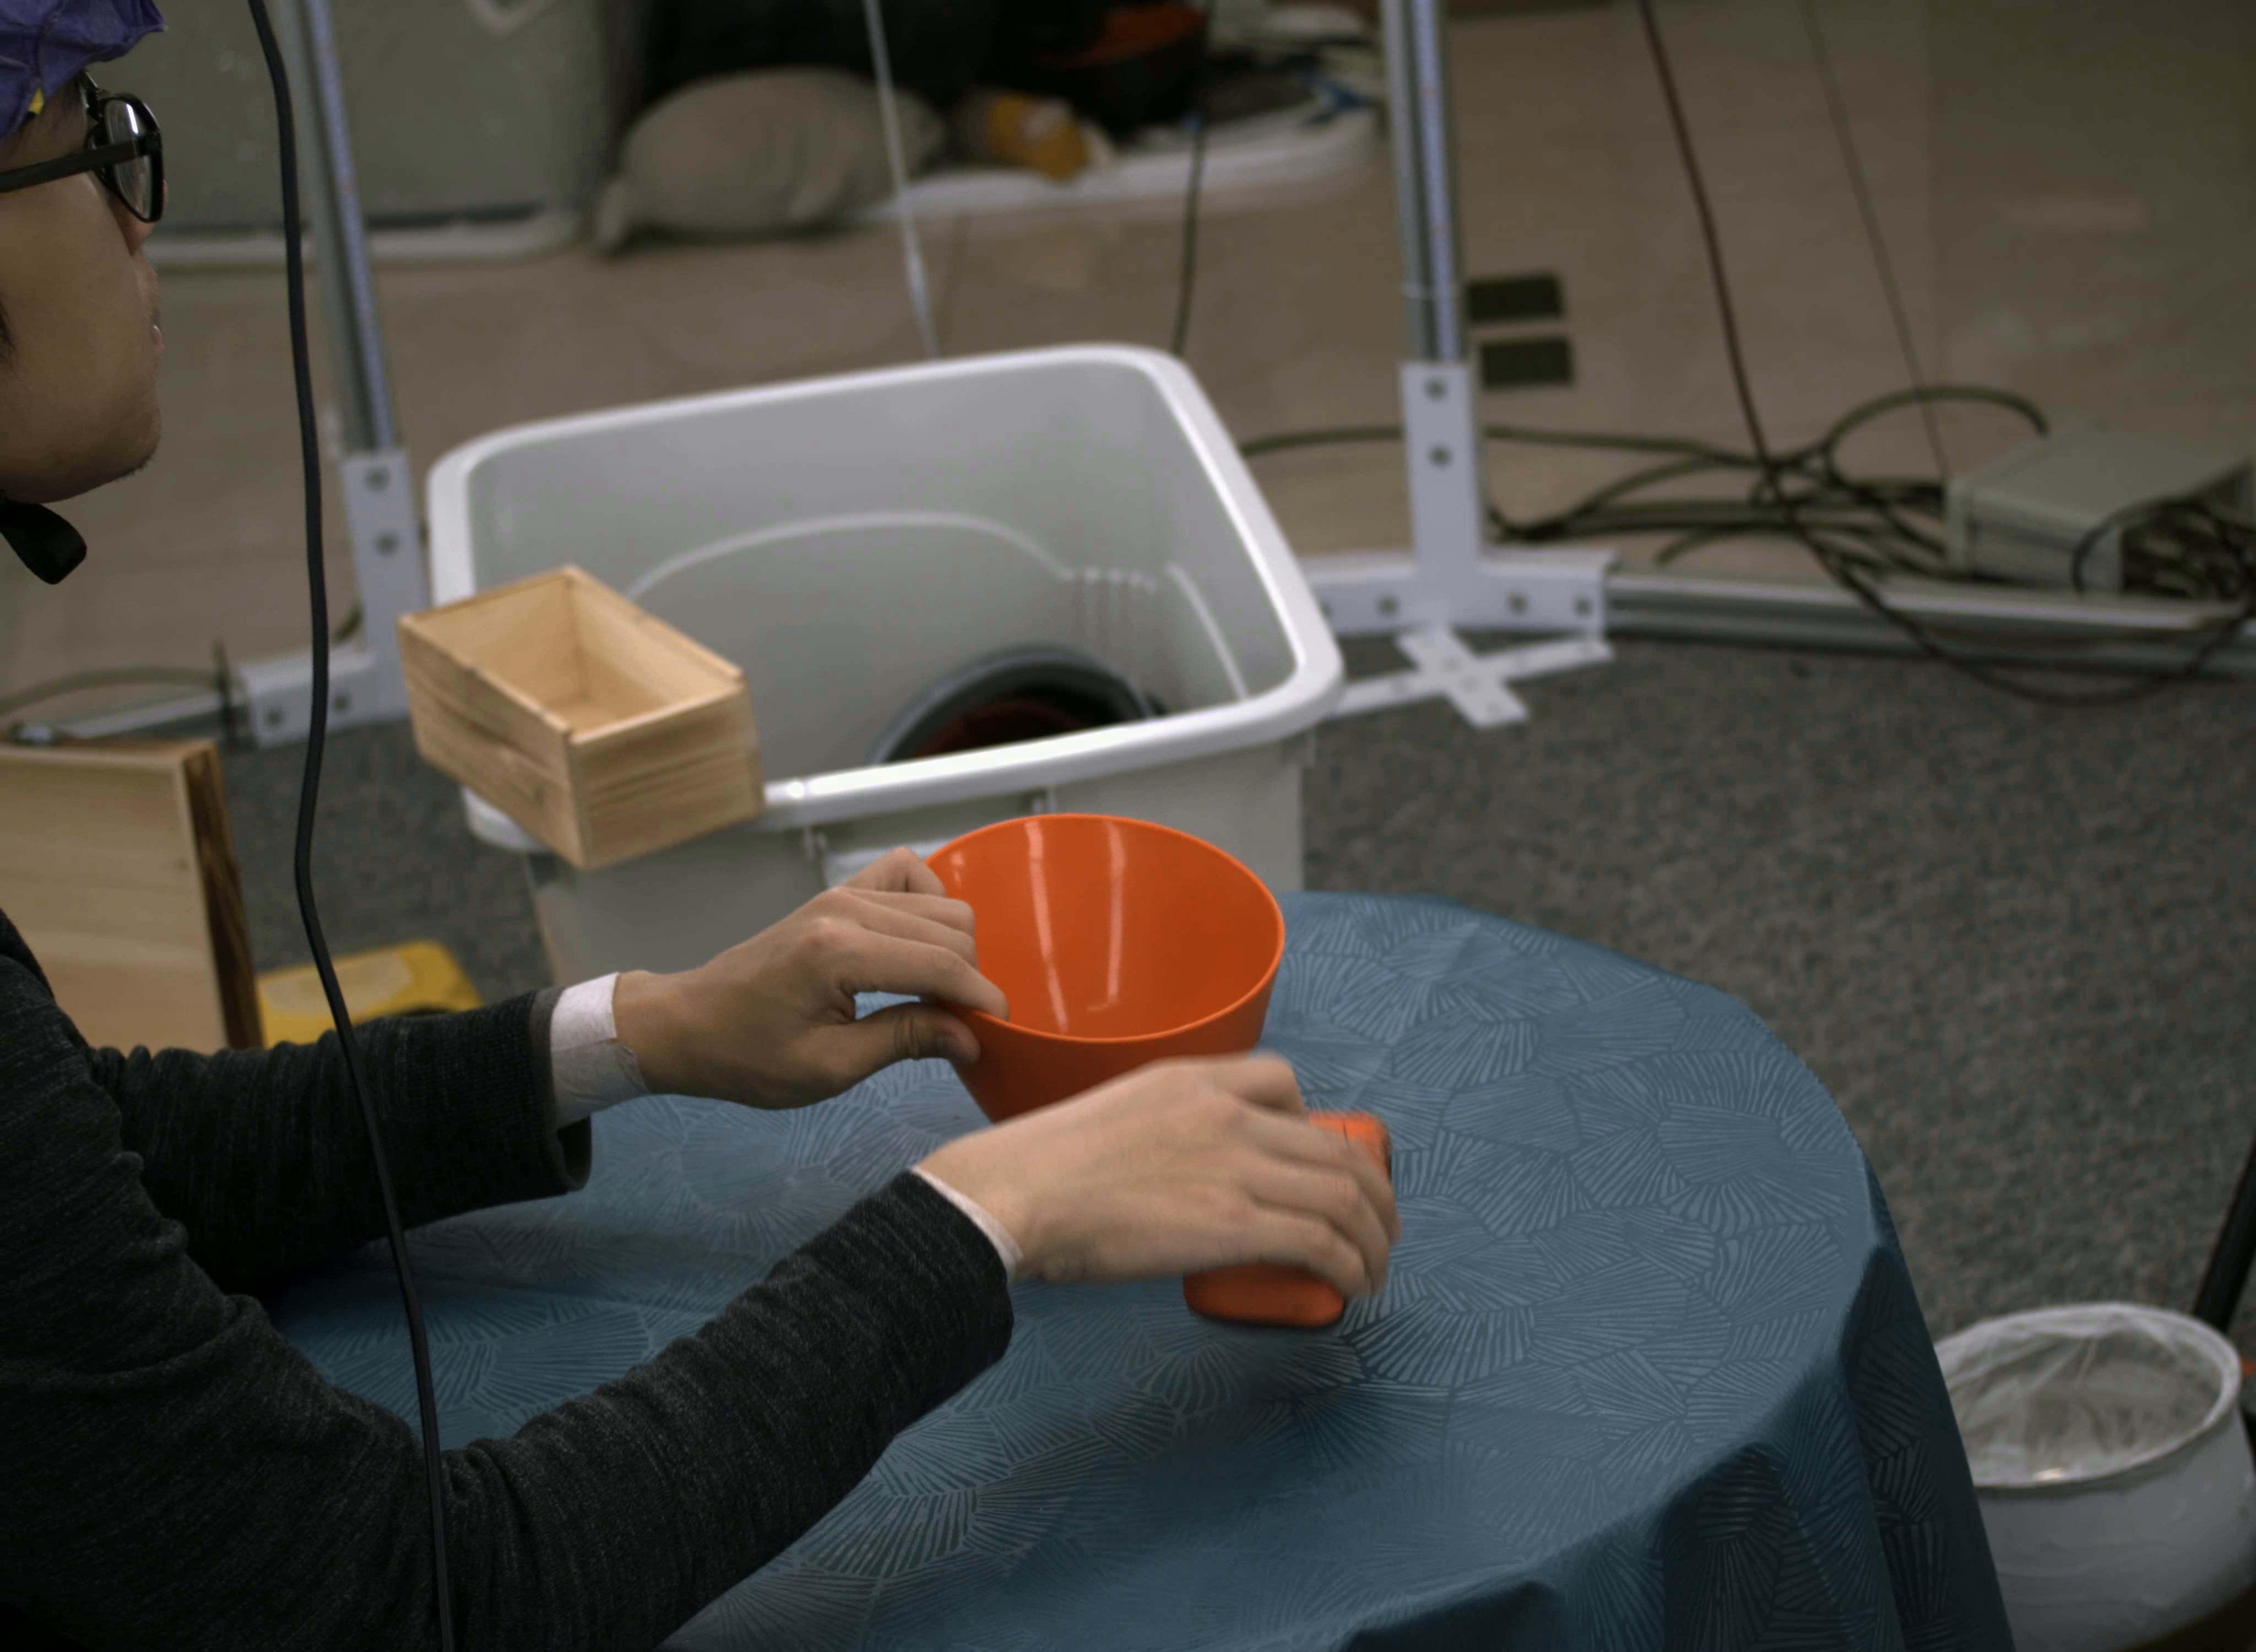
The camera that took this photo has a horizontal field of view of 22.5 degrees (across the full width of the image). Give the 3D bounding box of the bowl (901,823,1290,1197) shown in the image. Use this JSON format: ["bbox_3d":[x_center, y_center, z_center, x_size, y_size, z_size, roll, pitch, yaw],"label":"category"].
[{"bbox_3d":[-0.012,0.076,2.158,0.148,0.106,0.146,0,25,0],"label":"bowl"}]

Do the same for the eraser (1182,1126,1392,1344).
[{"bbox_3d":[0.057,0.143,2.001,0.059,0.023,0.106,4,30,13],"label":"eraser"}]
